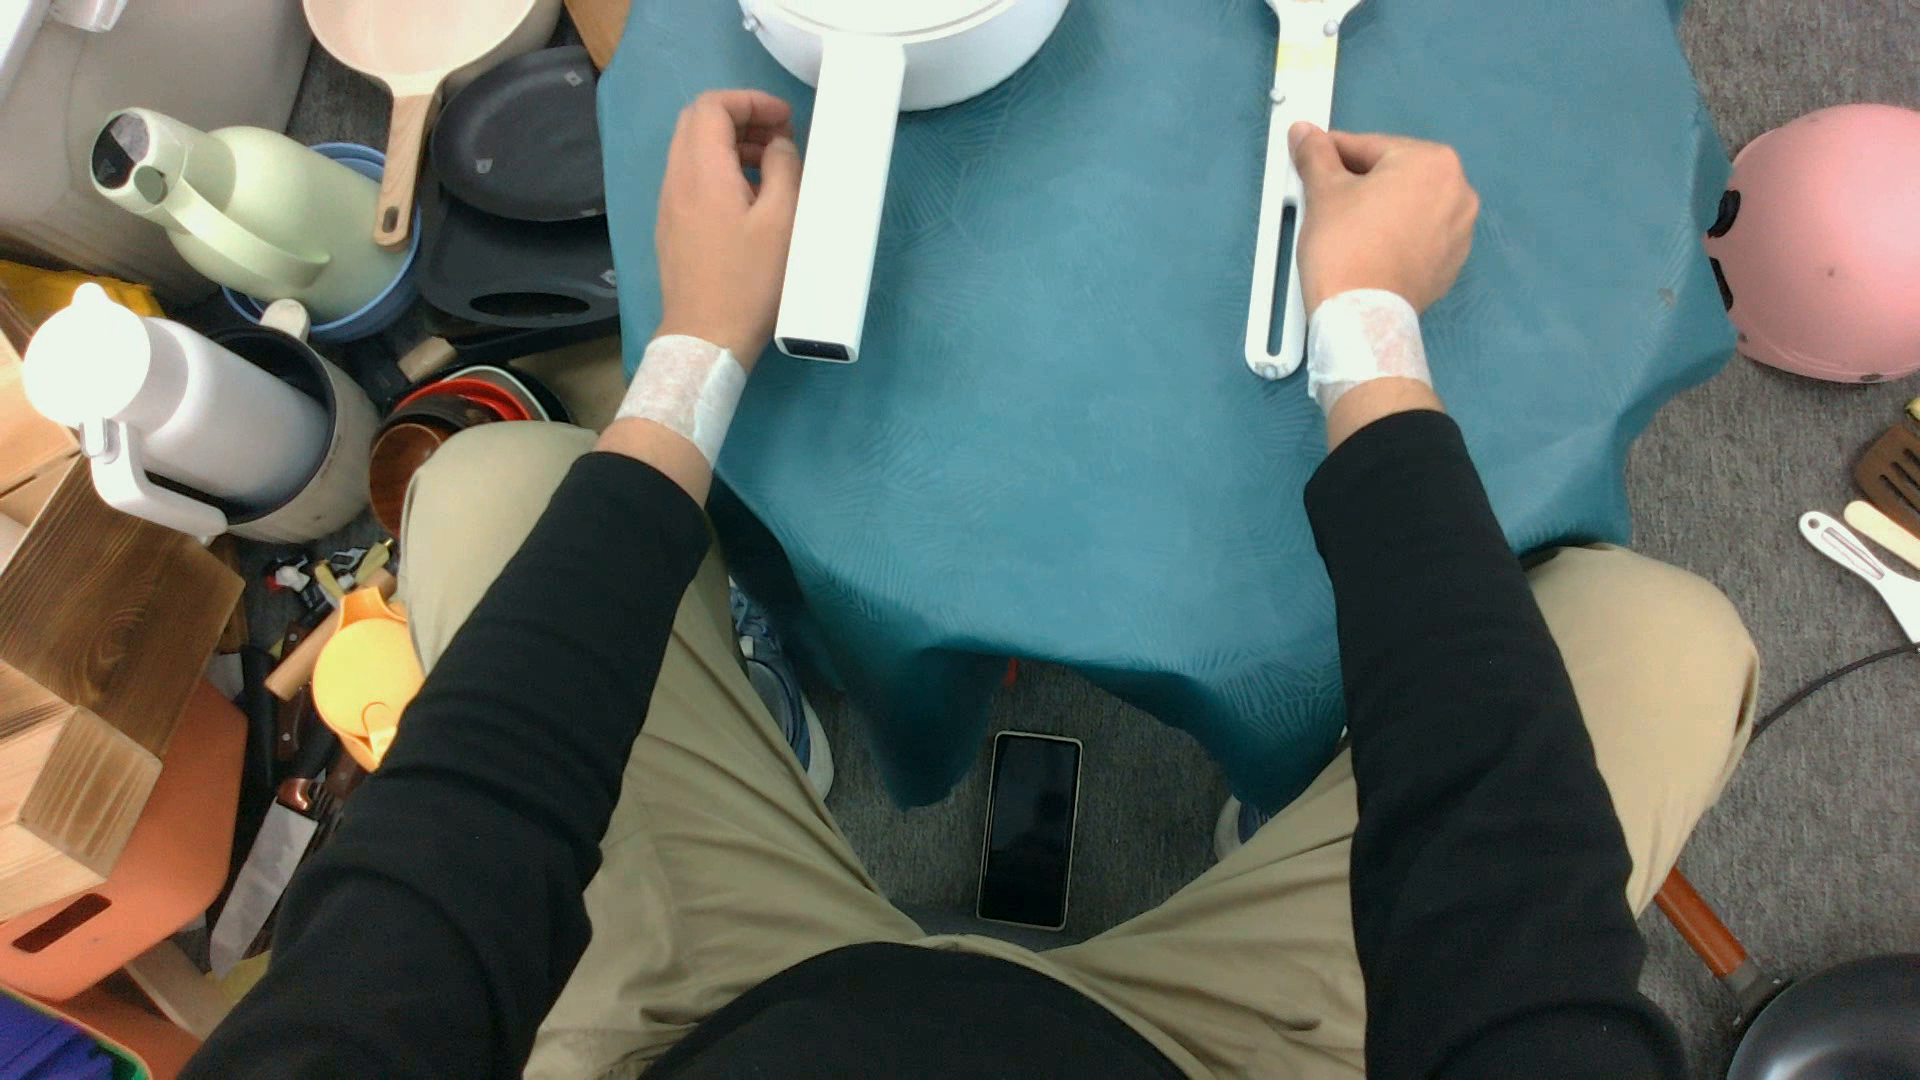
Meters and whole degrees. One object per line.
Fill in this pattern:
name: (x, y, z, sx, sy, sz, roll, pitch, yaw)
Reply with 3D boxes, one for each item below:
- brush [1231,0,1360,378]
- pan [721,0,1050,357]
brush: (0.177, -0.220, 0.732, 0.068, 0.056, 0.267, 8, 80, 9)
pan: (-0.053, -0.260, 0.727, 0.201, 0.102, 0.355, 8, 79, 3)
